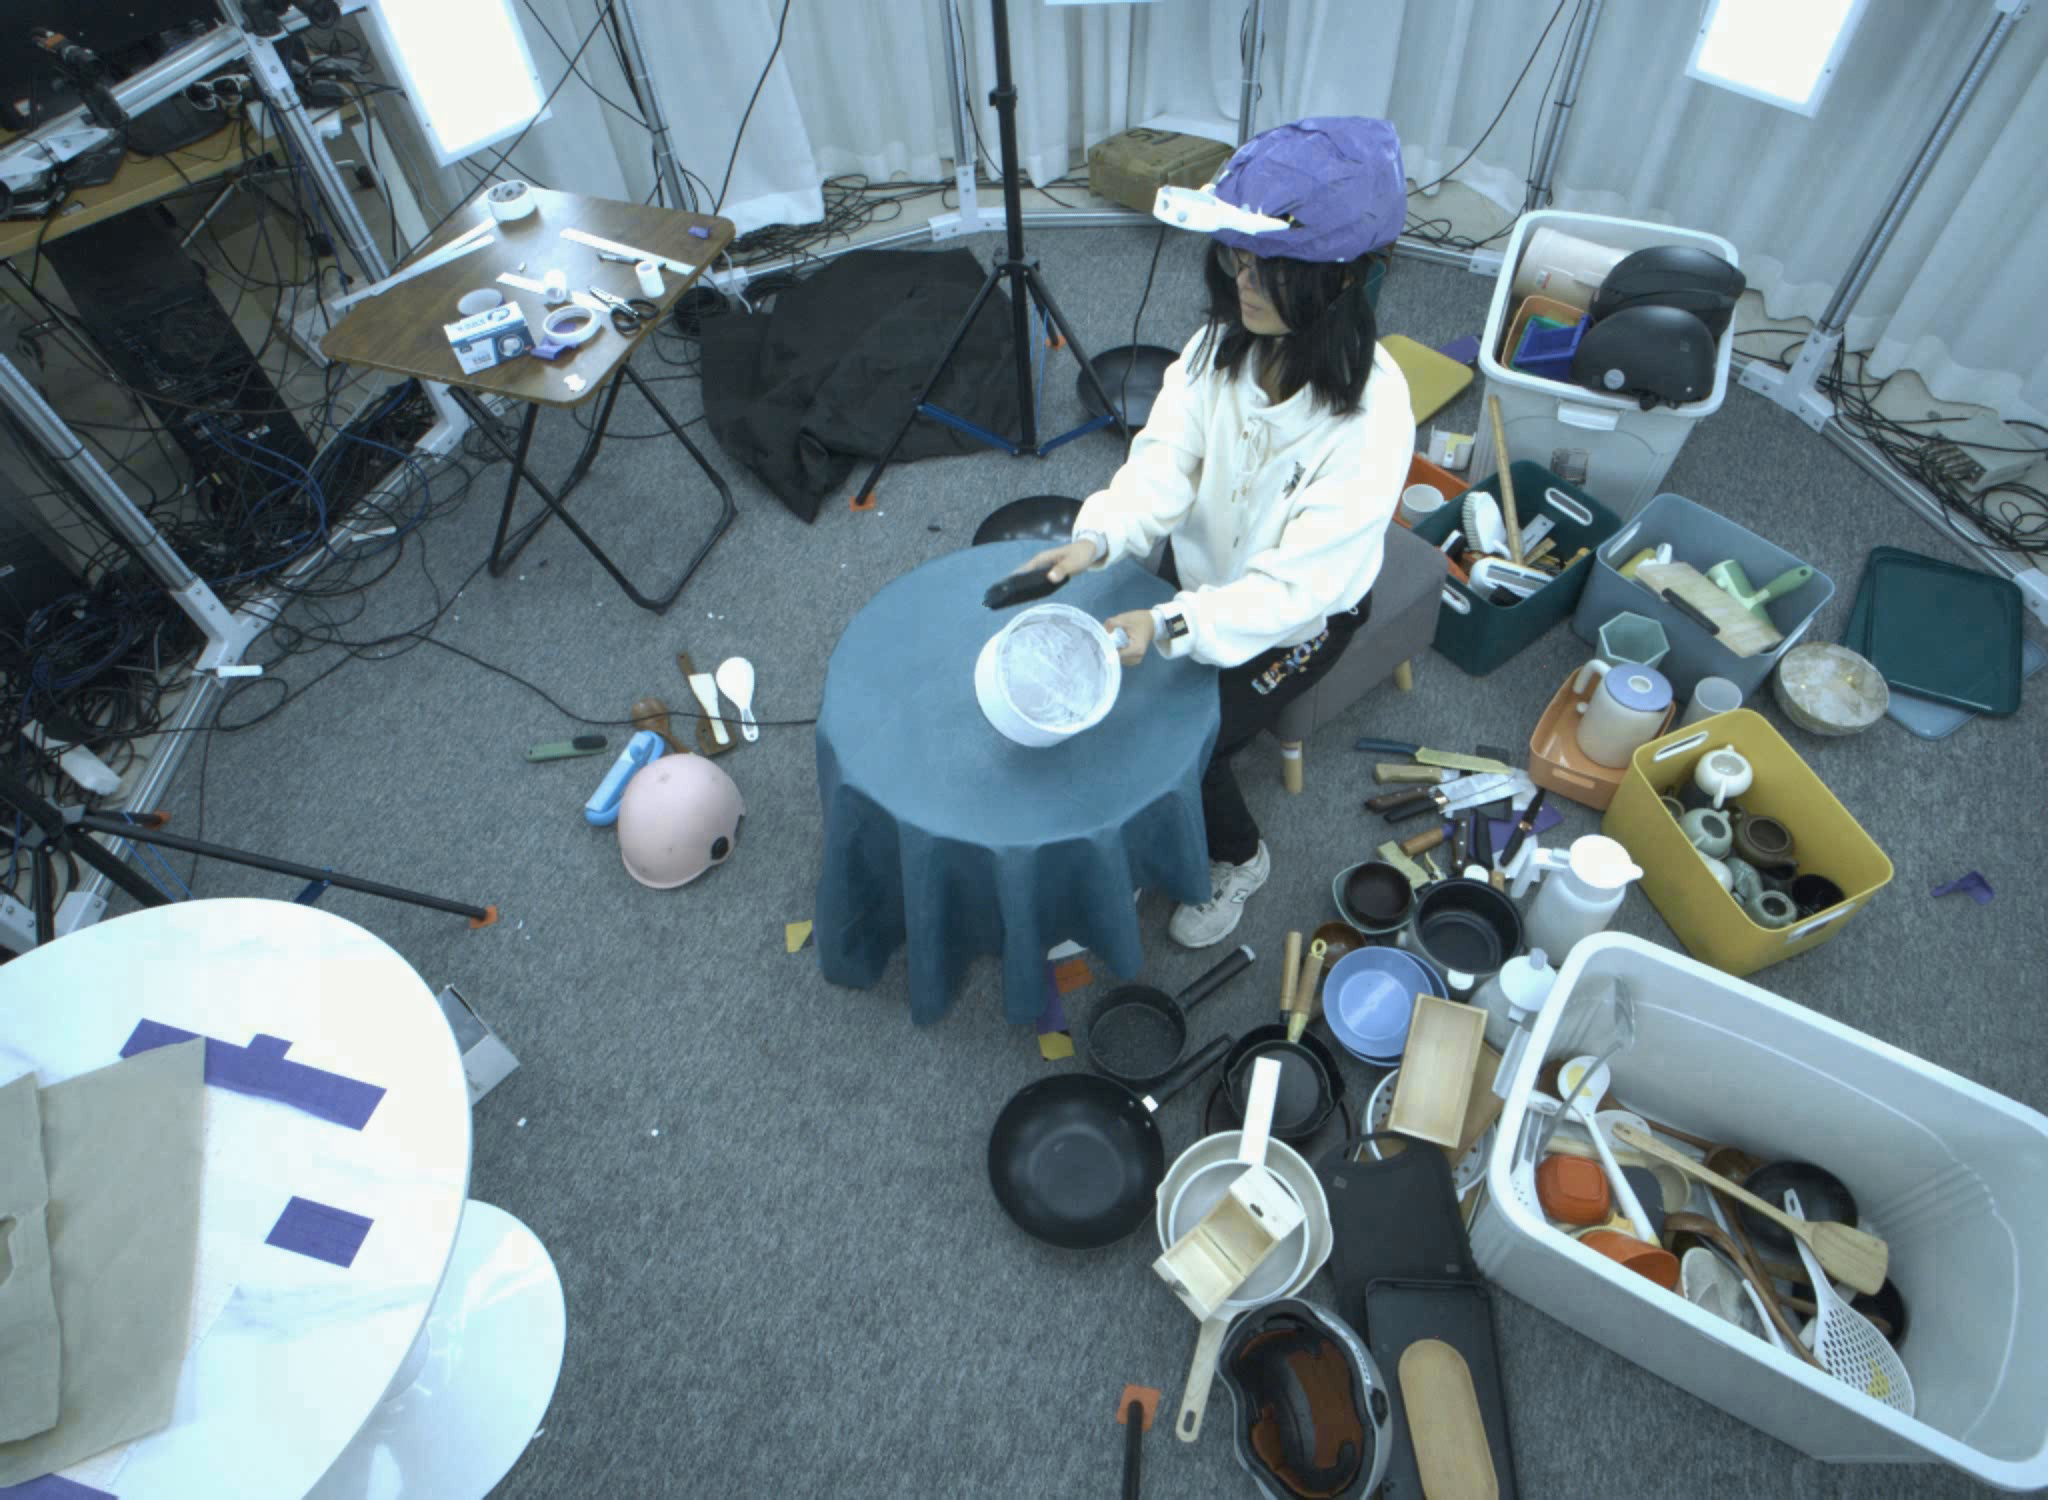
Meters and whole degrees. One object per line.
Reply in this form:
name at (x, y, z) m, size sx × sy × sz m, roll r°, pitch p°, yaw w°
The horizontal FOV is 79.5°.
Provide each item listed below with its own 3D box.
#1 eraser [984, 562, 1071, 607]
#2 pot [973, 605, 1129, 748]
eraser at (0.005, -0.224, 1.654) m, size 0.127 × 0.053 × 0.030 m, roll -21°, pitch 83°, yaw -48°
pot at (0.048, -0.109, 1.691) m, size 0.236 × 0.135 × 0.179 m, roll -31°, pitch 92°, yaw -21°
